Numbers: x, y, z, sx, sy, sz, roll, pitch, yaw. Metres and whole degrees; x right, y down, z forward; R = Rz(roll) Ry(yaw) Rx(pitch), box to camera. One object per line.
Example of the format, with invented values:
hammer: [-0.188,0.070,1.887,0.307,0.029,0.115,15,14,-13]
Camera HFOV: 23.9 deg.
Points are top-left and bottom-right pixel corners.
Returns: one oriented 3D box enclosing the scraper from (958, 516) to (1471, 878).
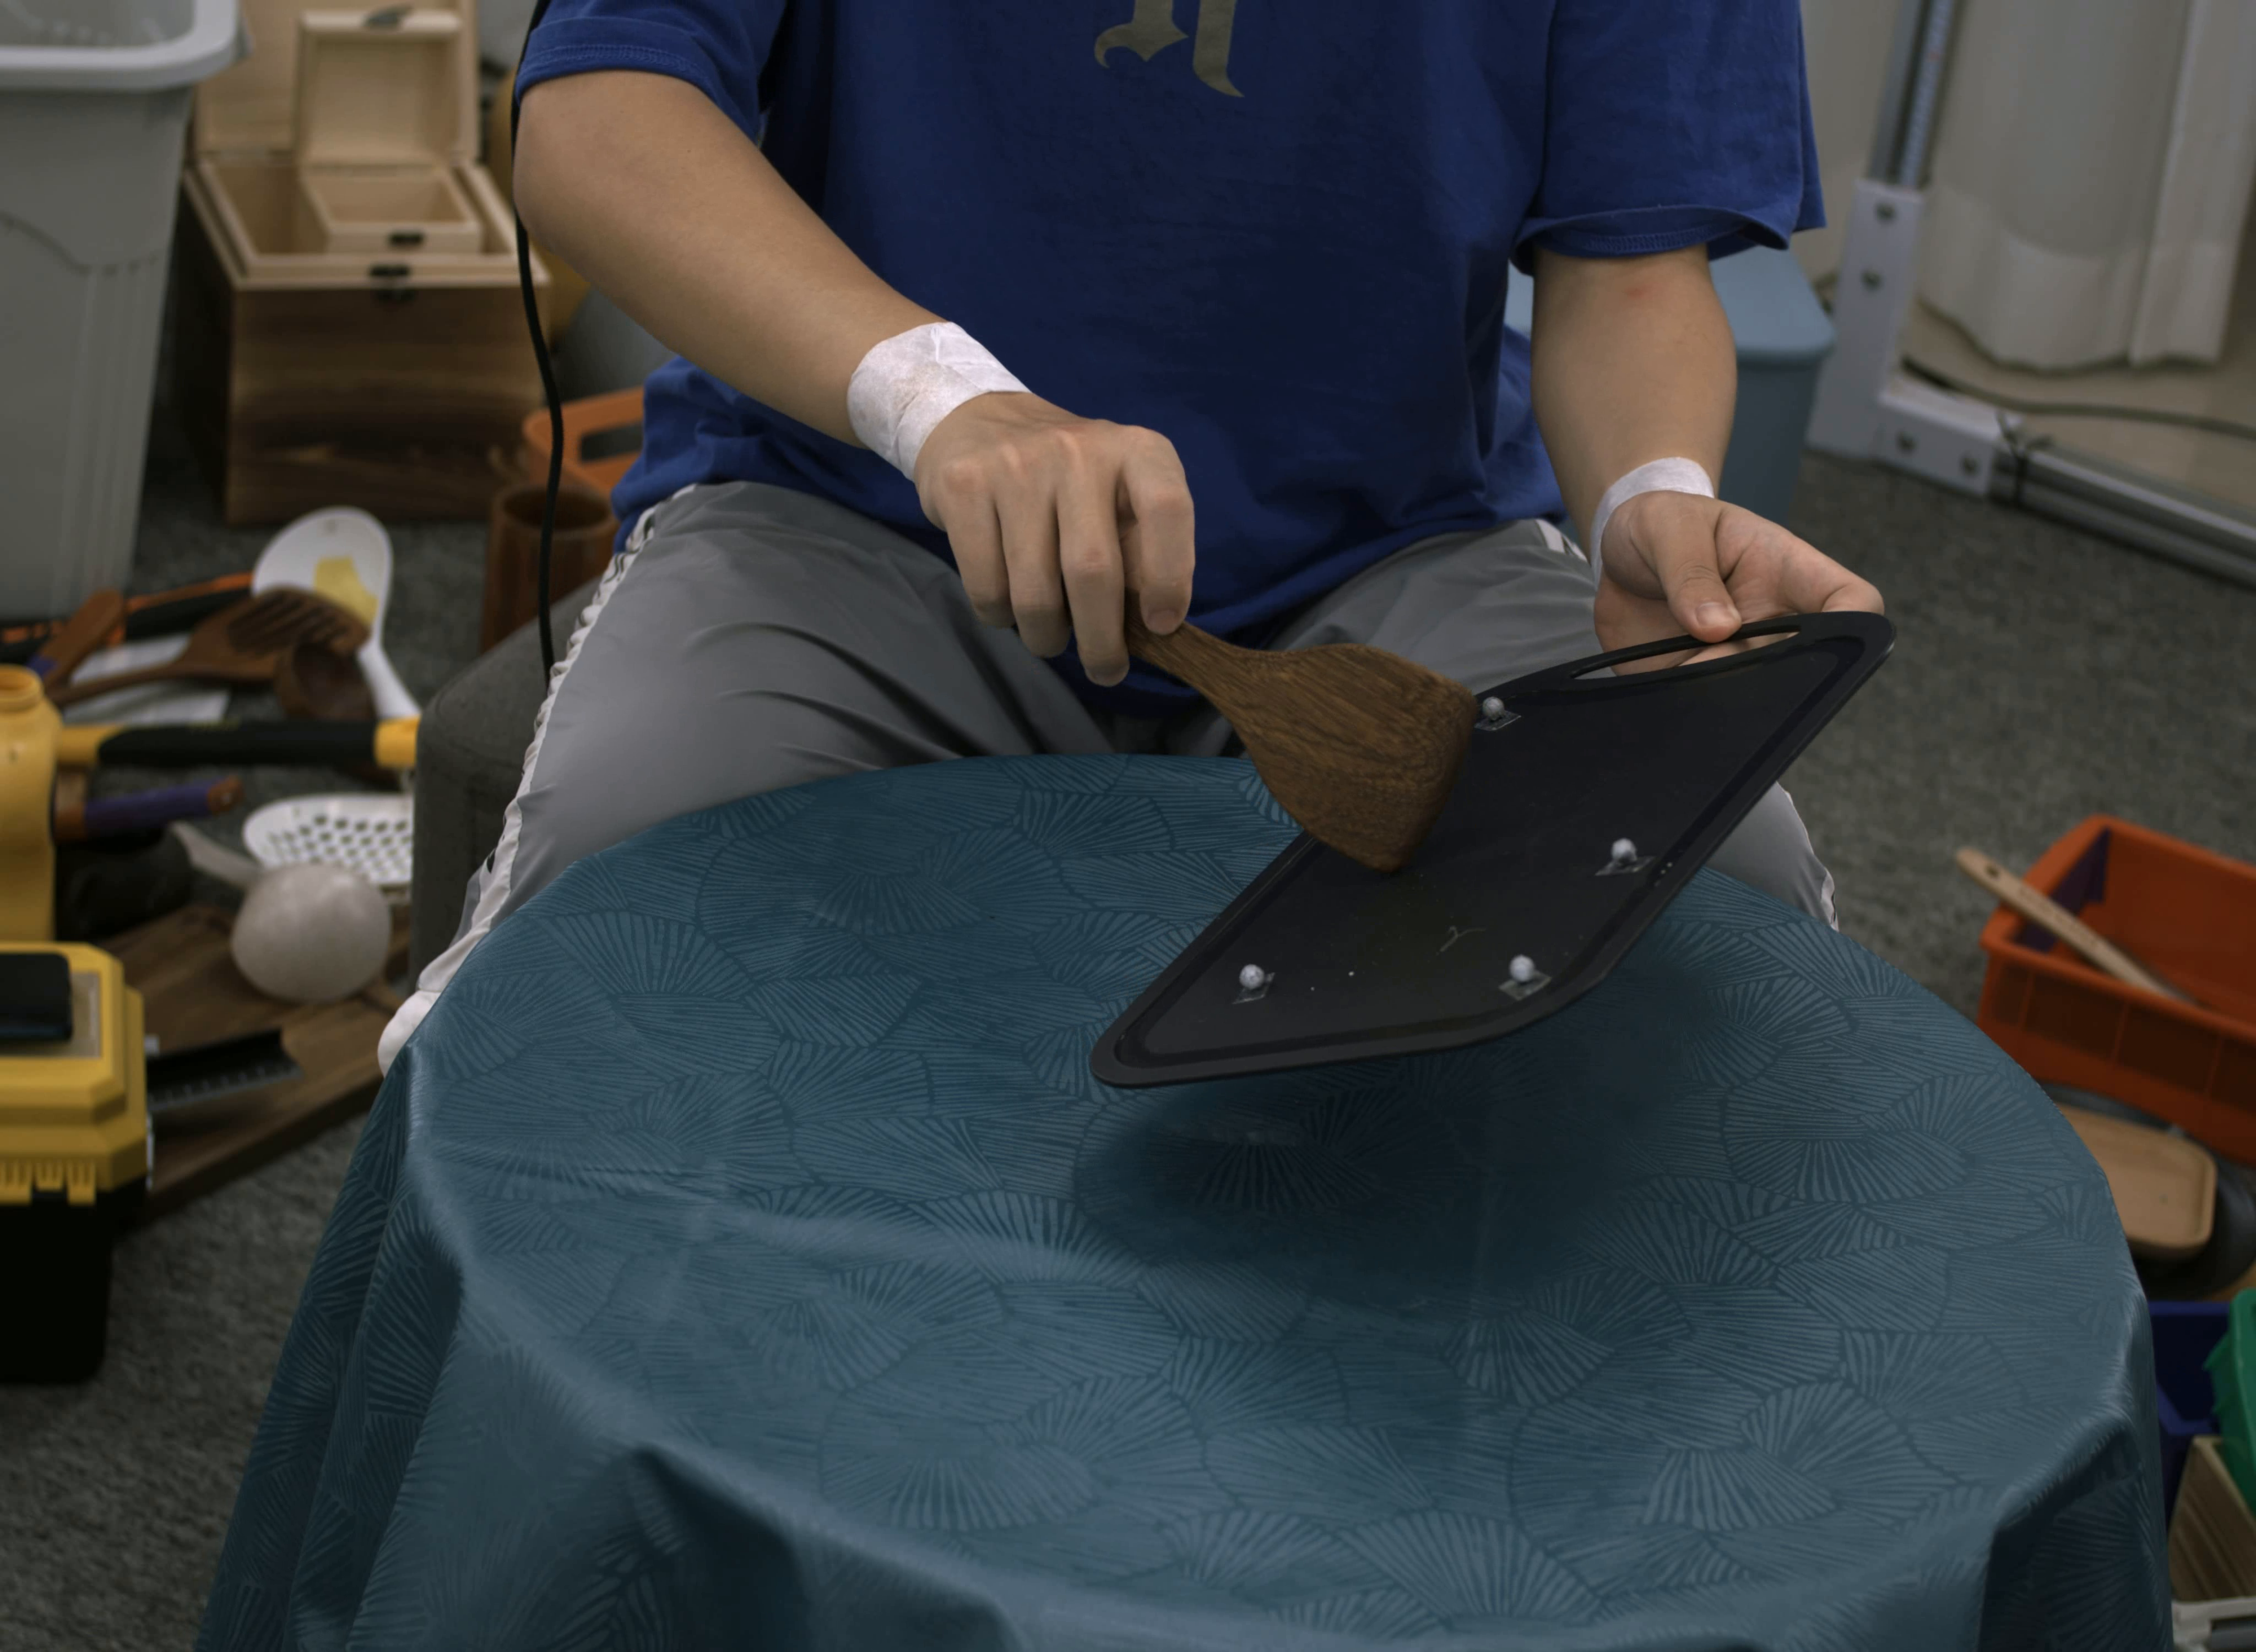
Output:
scraper: [0.024,-0.056,1.873,0.212,0.076,0.011,29,15,27]

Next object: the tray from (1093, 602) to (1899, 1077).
tray: [0.133,-0.002,1.841,0.212,0.010,0.325,-10,22,39]
